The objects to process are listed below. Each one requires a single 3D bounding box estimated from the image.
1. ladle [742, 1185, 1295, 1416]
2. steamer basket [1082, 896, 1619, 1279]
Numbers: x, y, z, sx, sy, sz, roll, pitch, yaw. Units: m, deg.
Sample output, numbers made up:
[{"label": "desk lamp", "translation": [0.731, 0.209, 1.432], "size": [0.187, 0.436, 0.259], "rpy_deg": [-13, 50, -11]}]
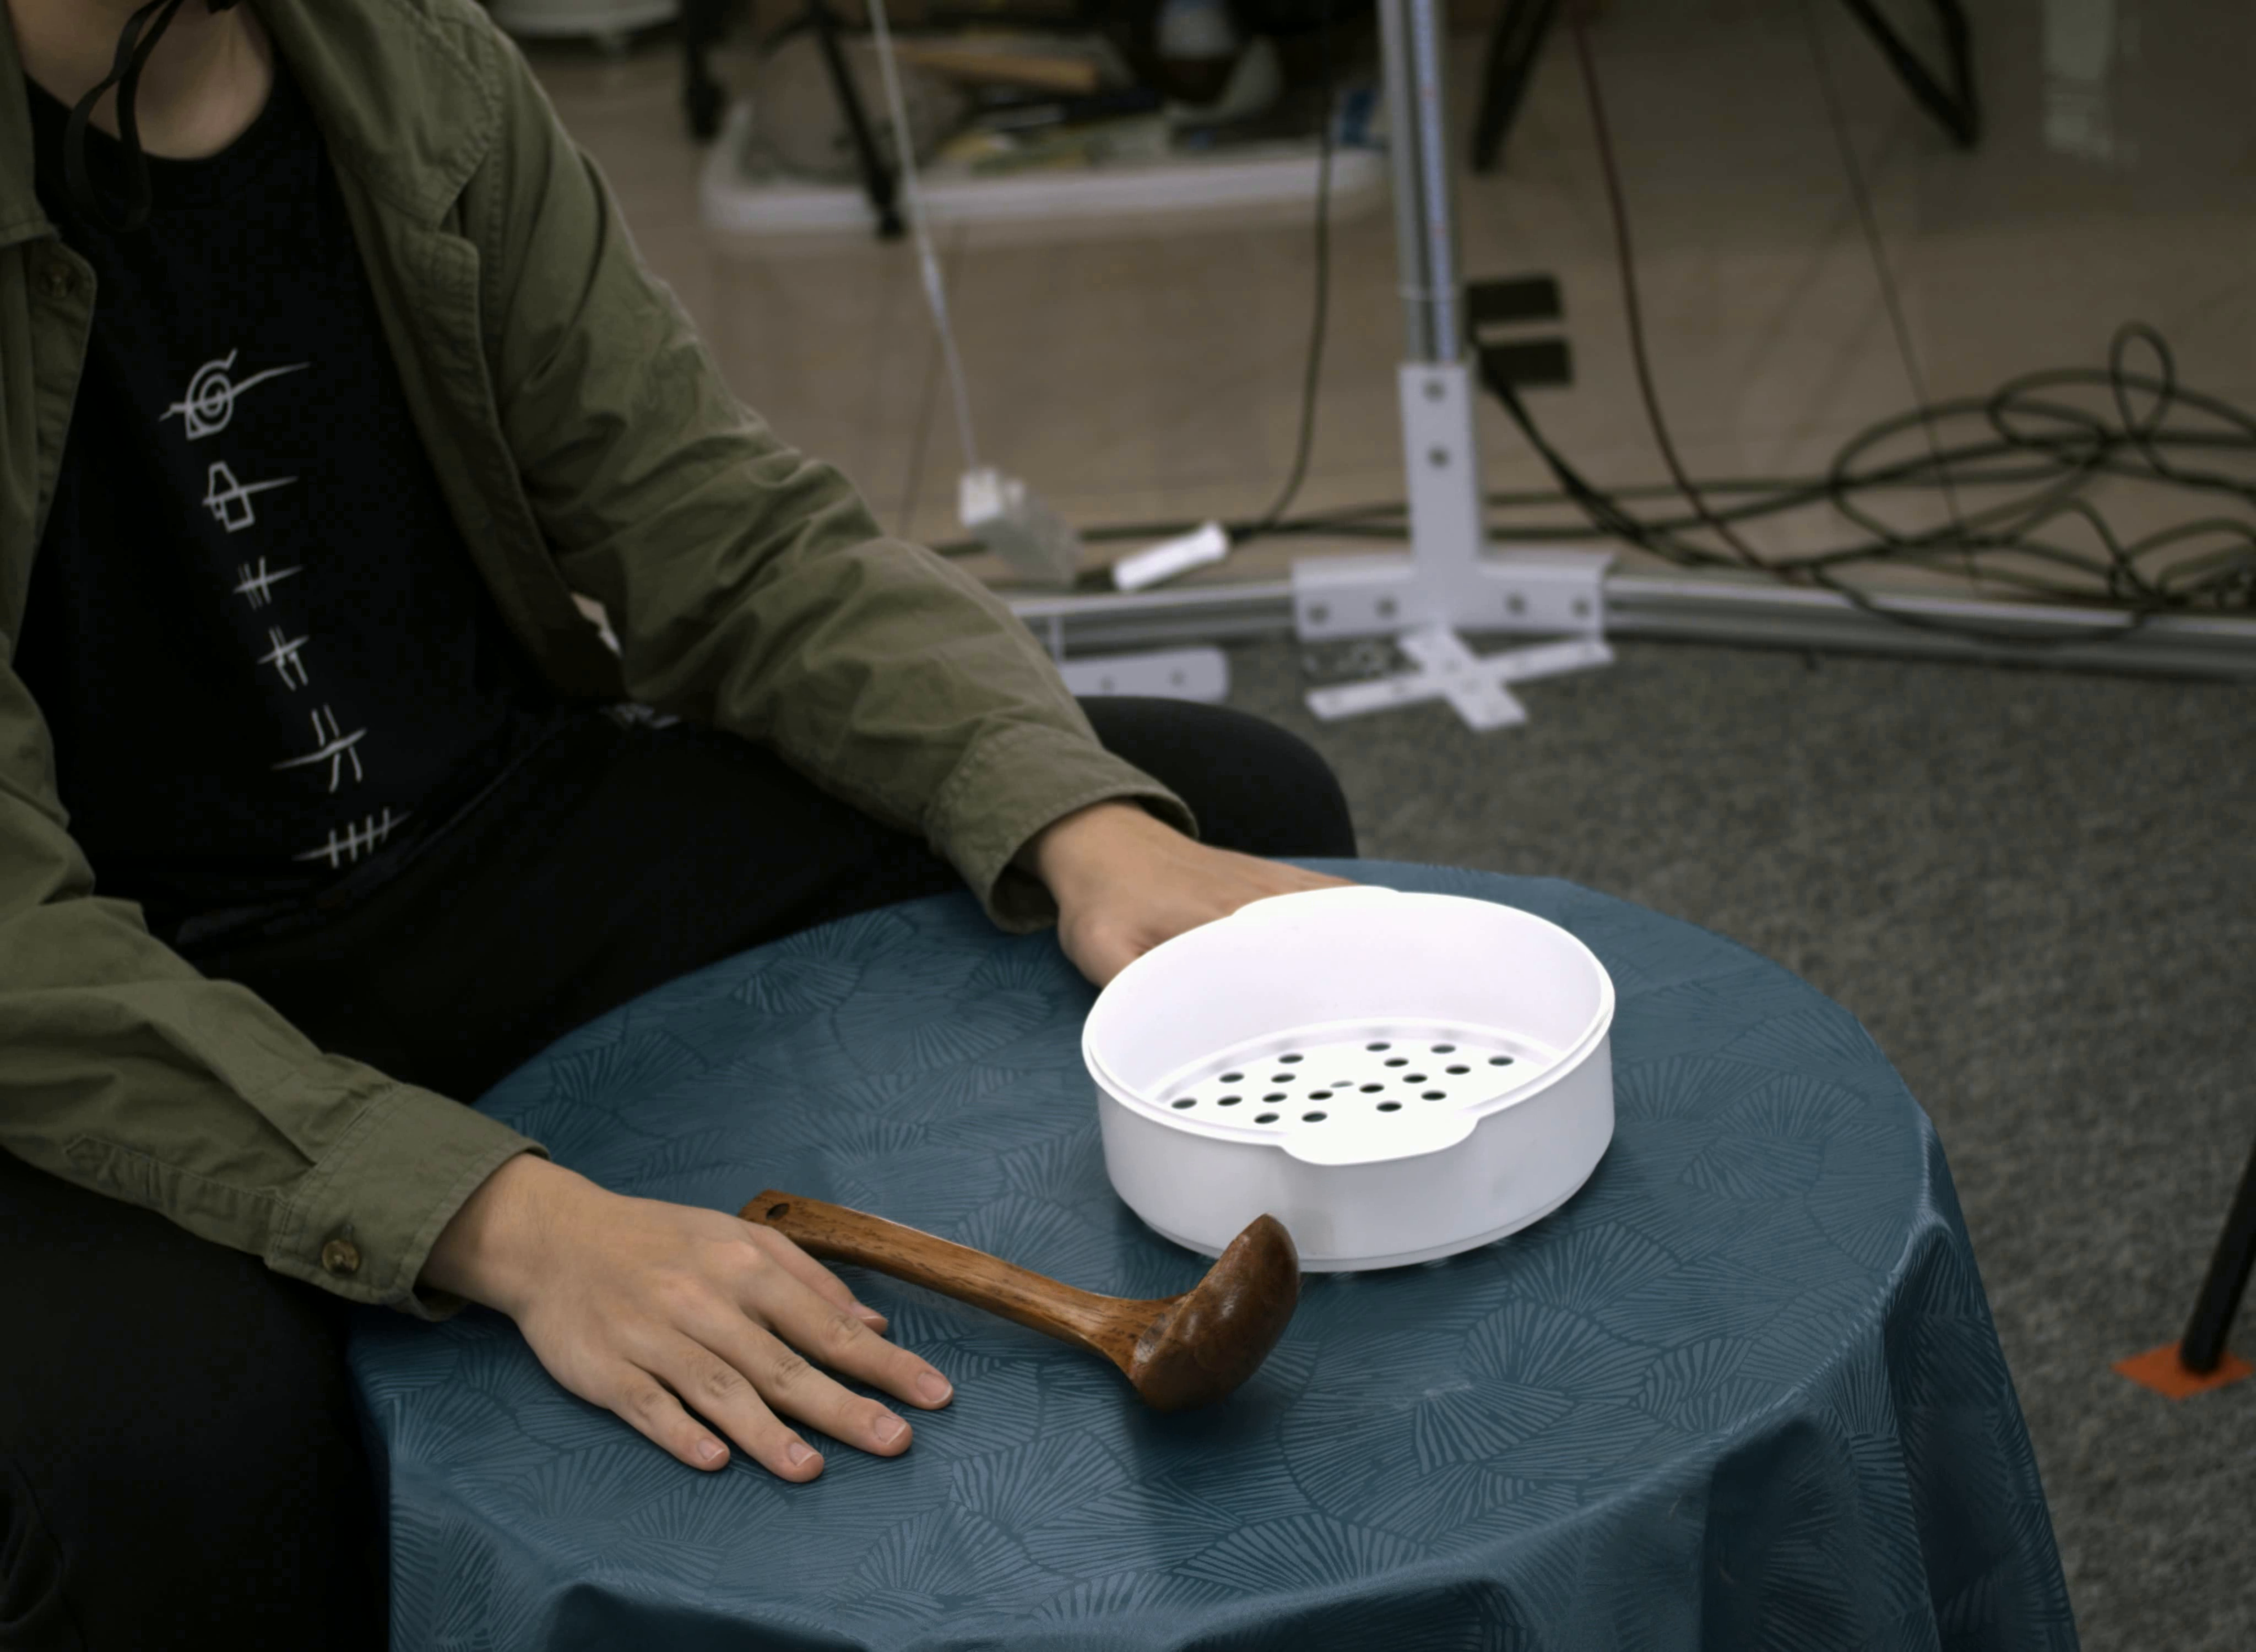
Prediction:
[{"label": "ladle", "translation": [-0.052, 0.152, 2.050], "size": [0.272, 0.078, 0.081], "rpy_deg": [16, 48, 39]}, {"label": "steamer basket", "translation": [0.086, 0.100, 2.134], "size": [0.201, 0.070, 0.227], "rpy_deg": [-7, 24, -2]}]
